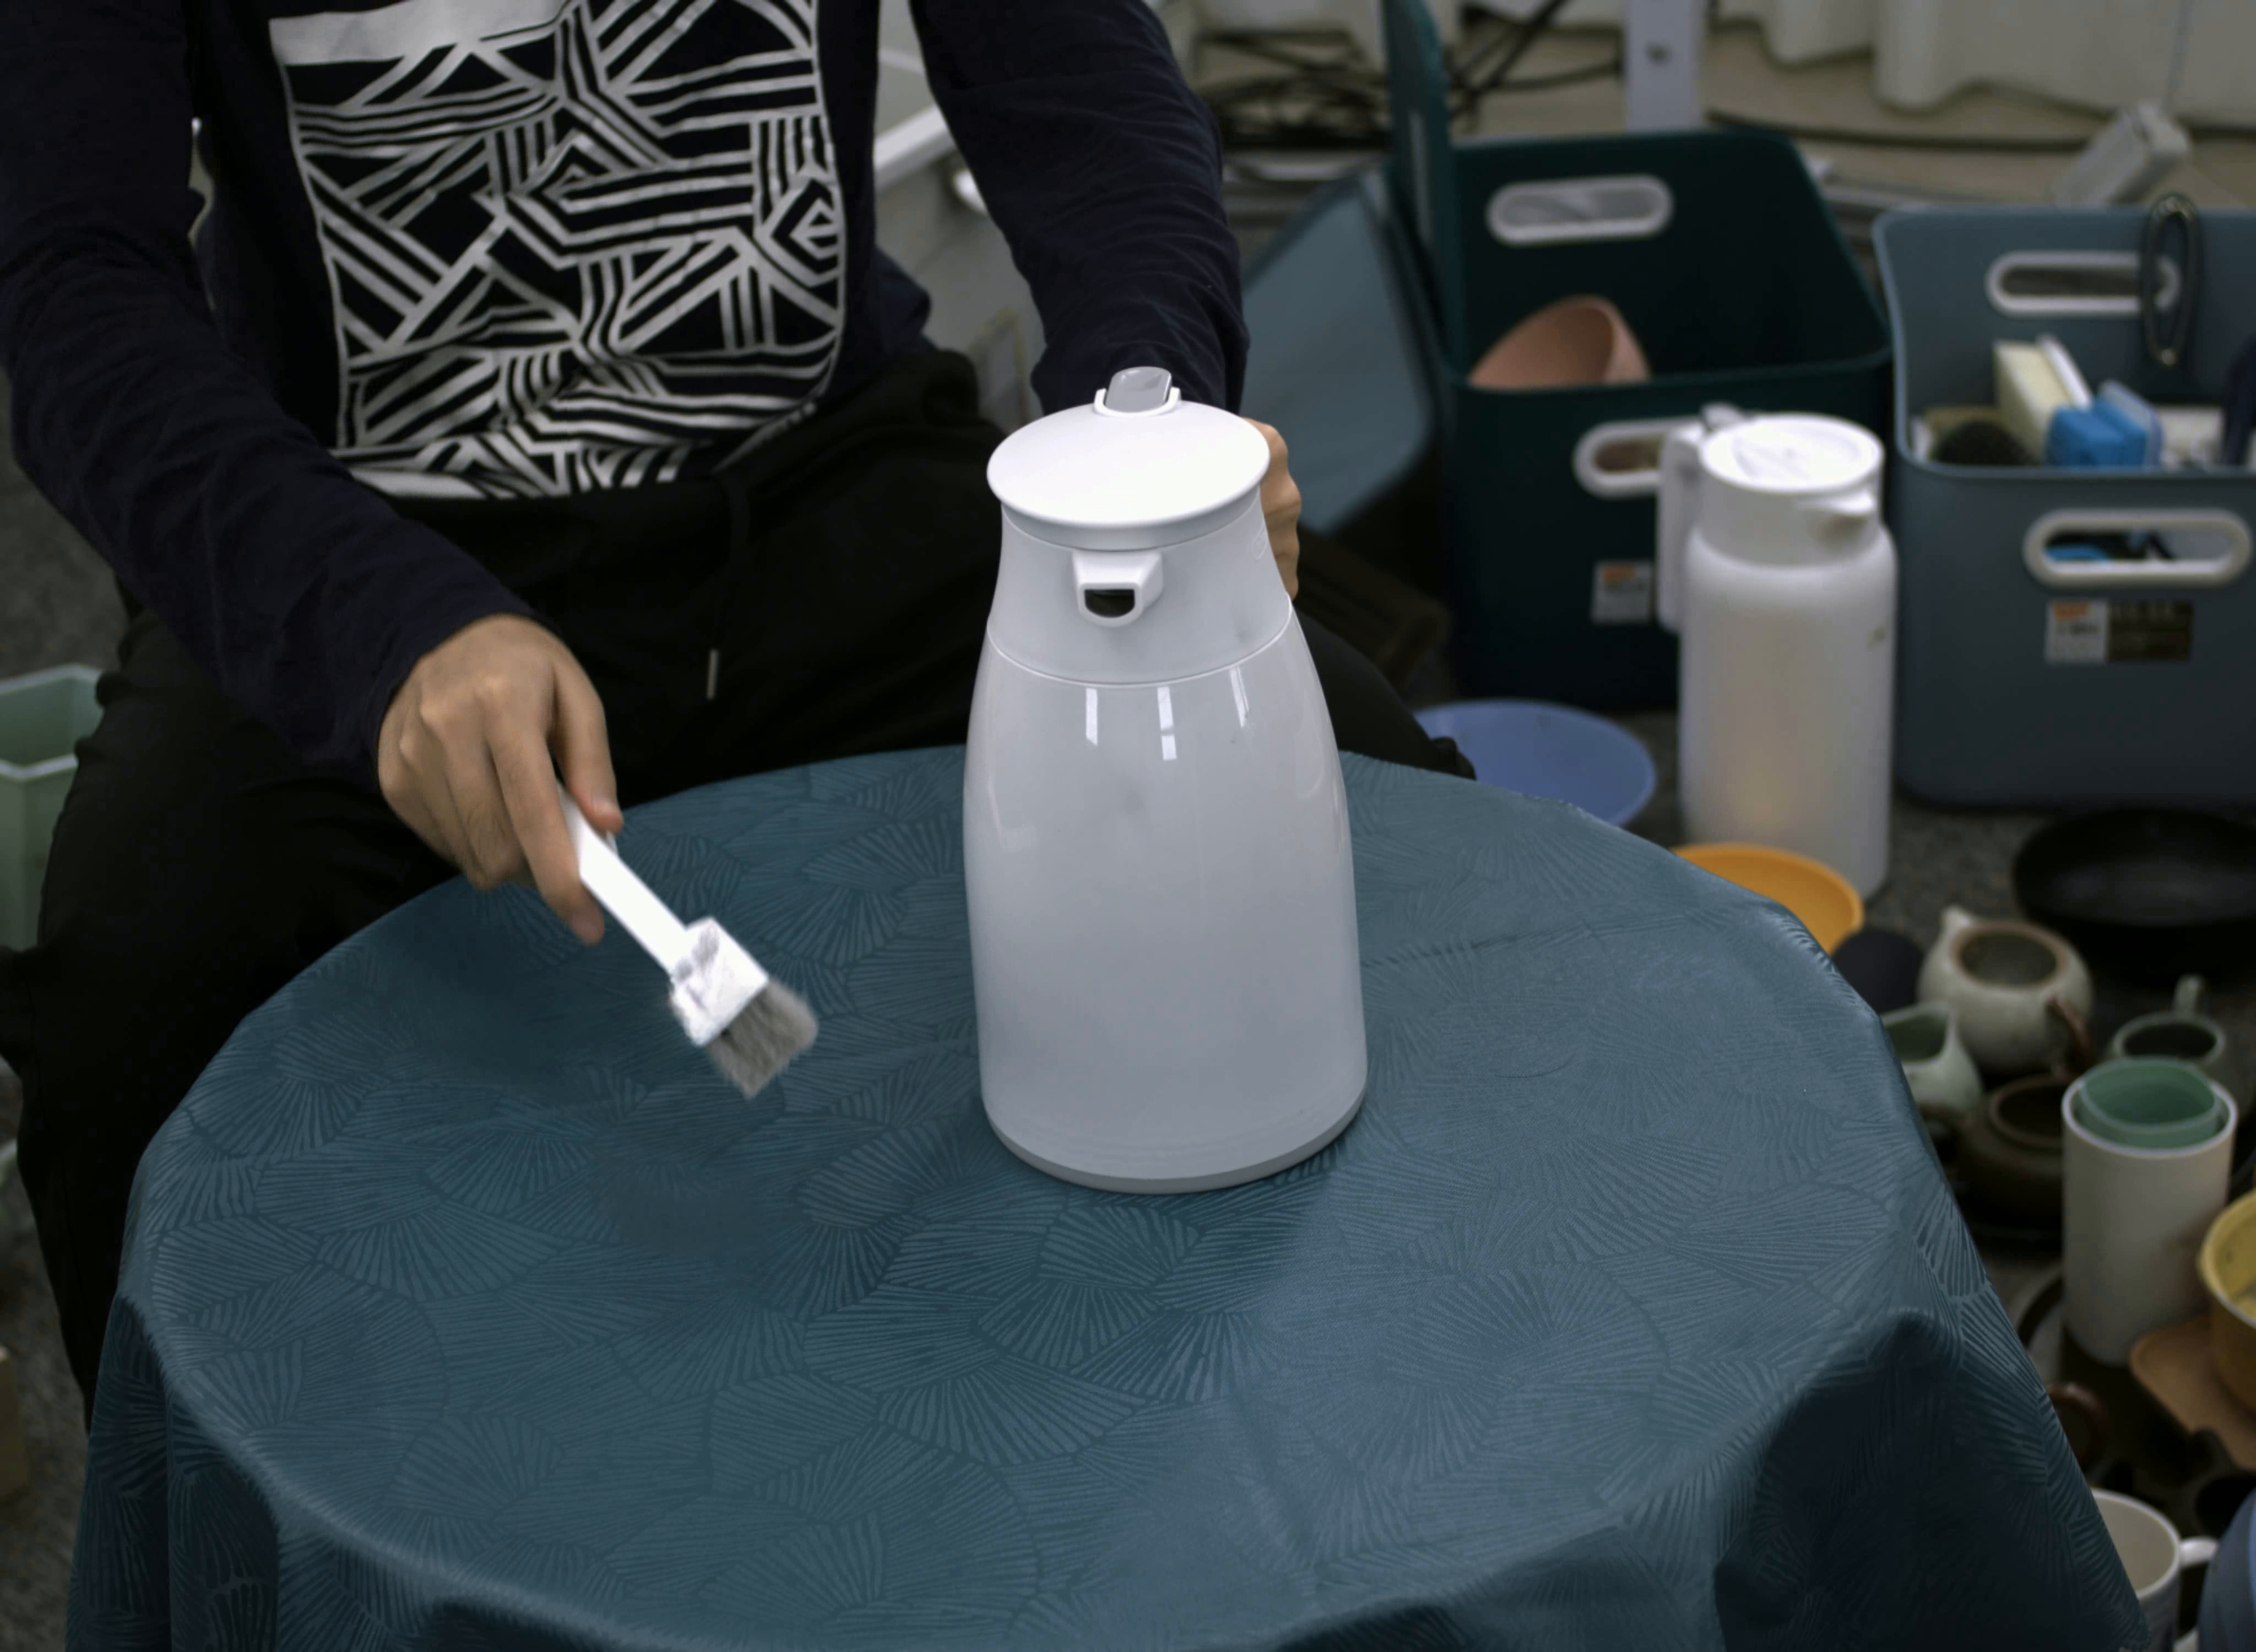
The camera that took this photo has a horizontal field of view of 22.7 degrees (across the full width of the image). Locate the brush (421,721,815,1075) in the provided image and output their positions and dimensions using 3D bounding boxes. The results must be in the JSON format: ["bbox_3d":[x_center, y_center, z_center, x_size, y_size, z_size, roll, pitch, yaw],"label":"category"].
[{"bbox_3d":[-0.173,0.023,1.898,0.034,0.050,0.244,-48,37,-5],"label":"brush"}]

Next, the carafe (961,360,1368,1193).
[{"bbox_3d":[0.008,-0.027,1.873,0.132,0.246,0.170,-2,27,6],"label":"carafe"}]
